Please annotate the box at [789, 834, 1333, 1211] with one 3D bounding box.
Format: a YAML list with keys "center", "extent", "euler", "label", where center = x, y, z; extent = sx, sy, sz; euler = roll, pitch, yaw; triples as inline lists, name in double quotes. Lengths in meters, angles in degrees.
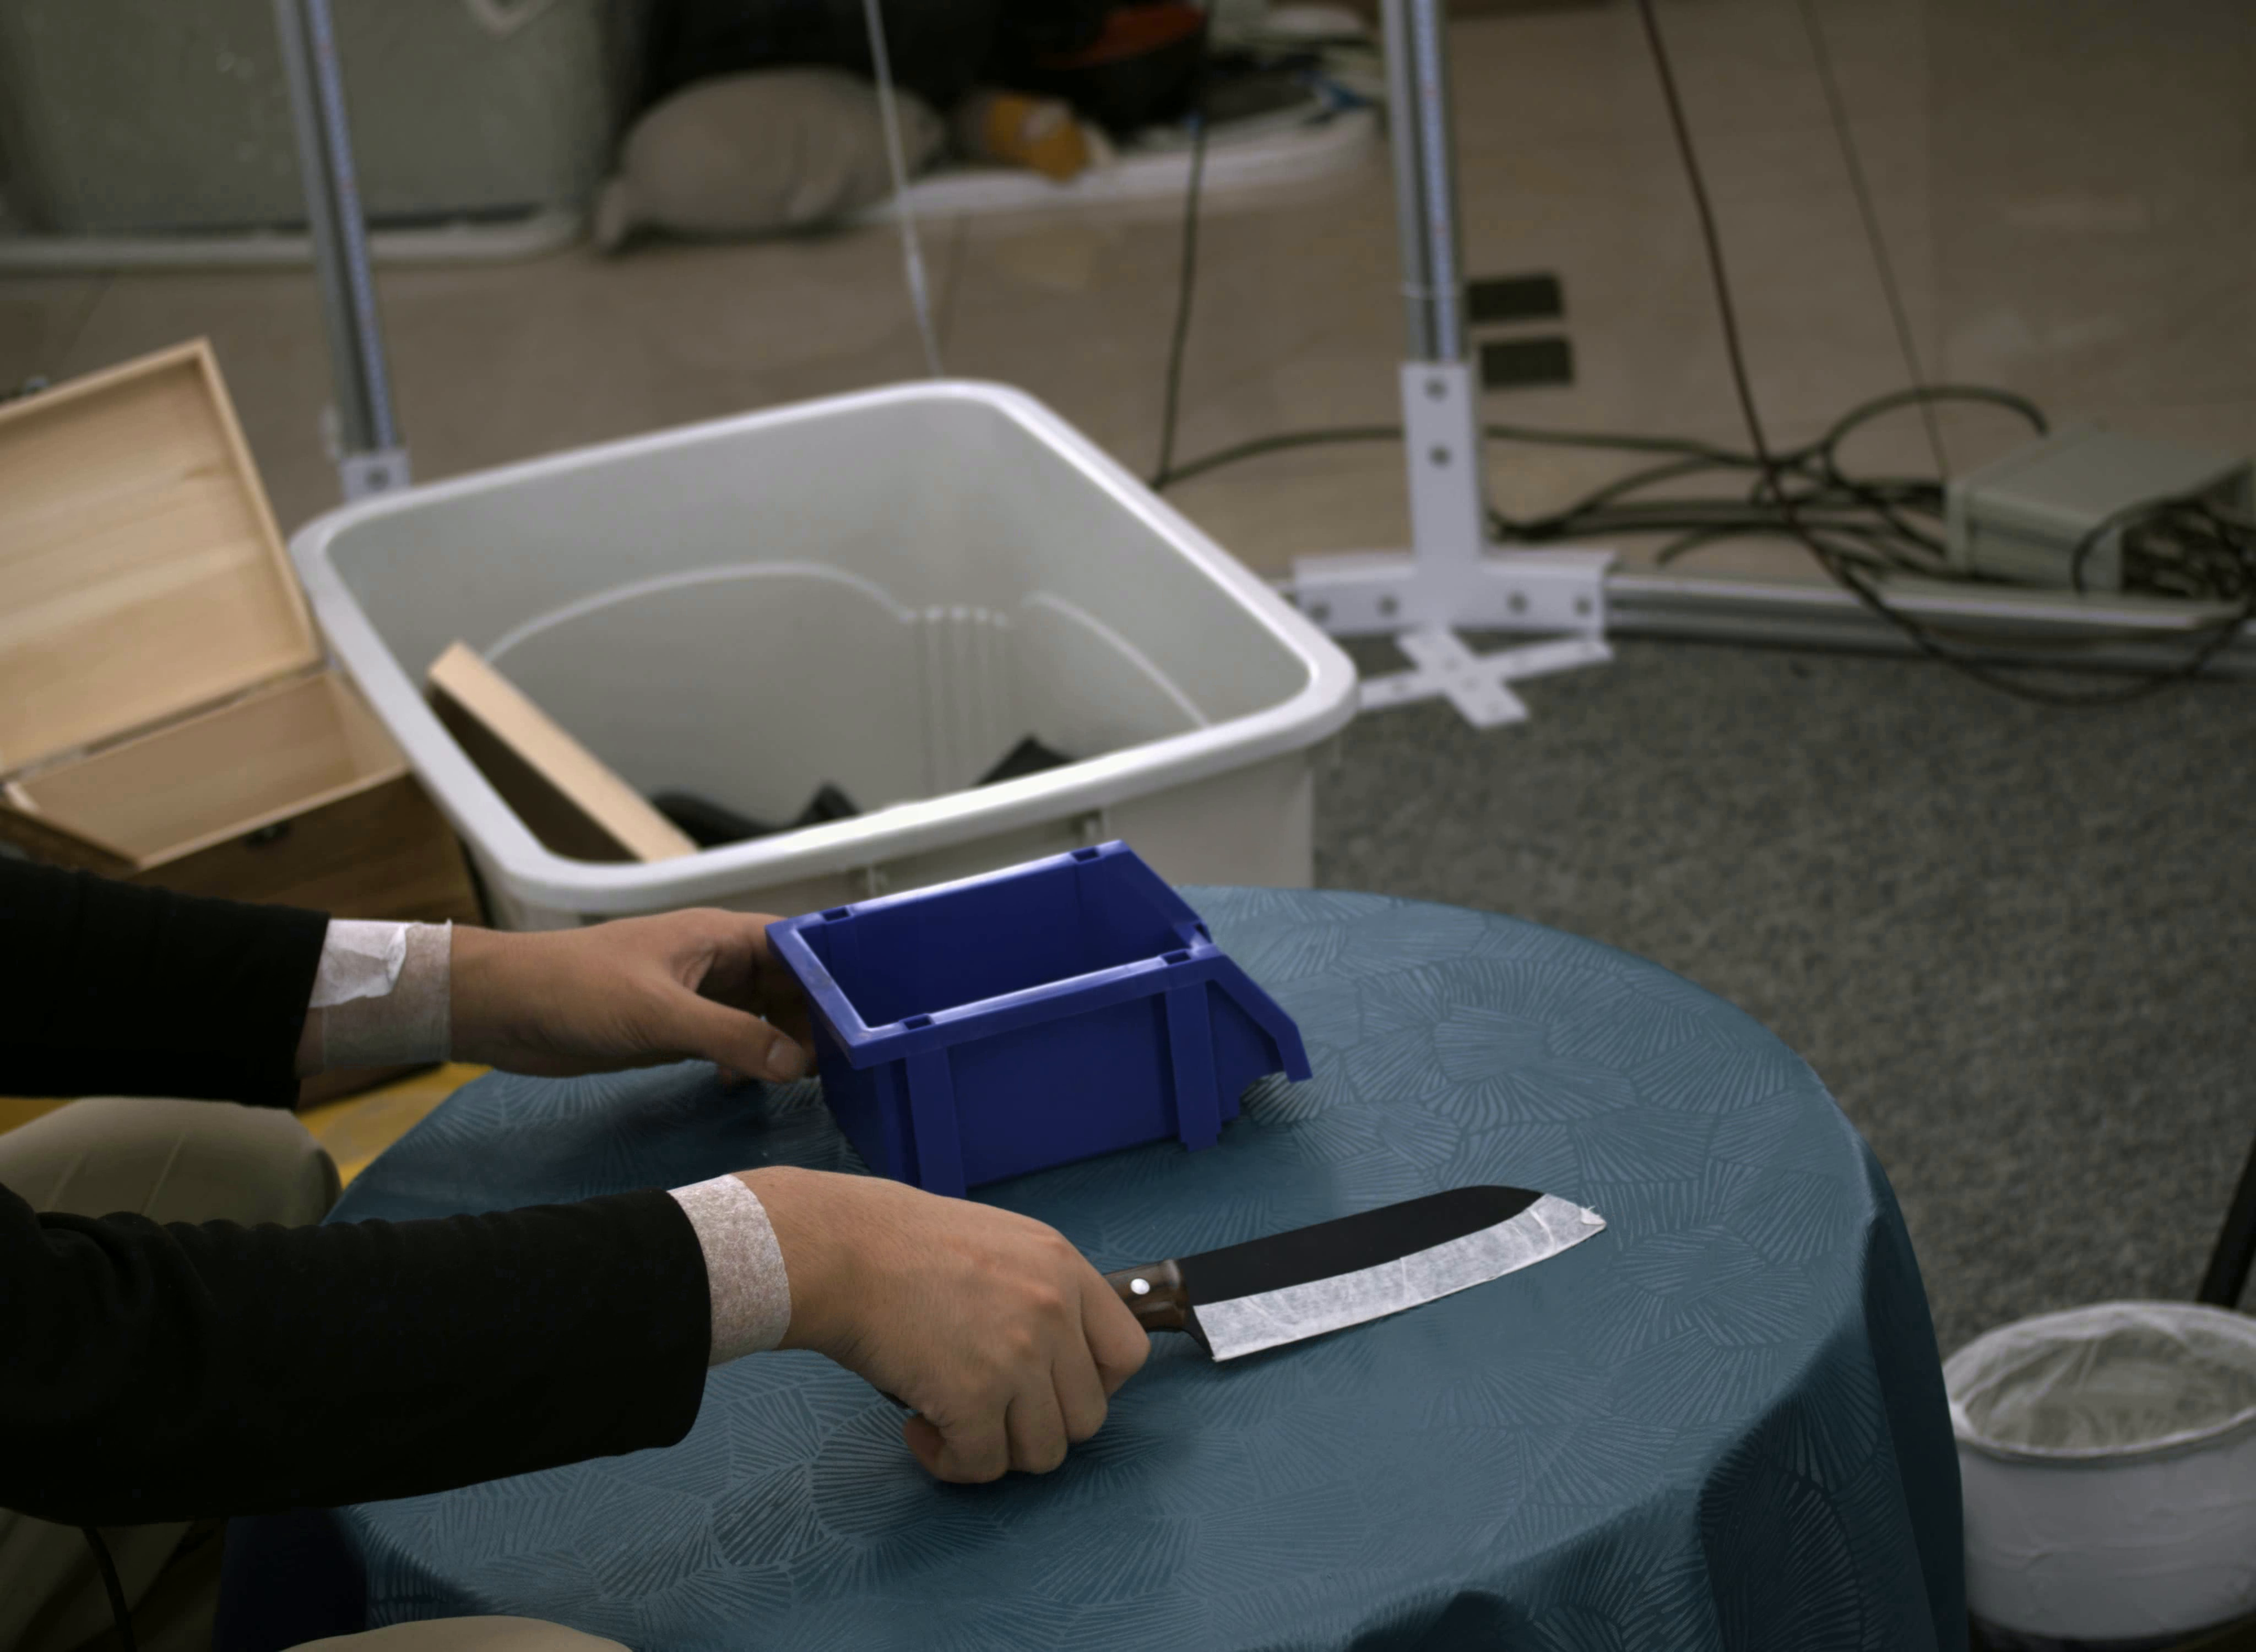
- center: [-0.026, 0.072, 2.200]
  extent: [0.179, 0.083, 0.123]
  euler: [-15, 26, -12]
  label: "box"

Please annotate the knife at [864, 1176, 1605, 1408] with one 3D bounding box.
- center: [0.042, 0.167, 2.035]
  extent: [0.288, 0.020, 0.049]
  euler: [-11, 59, -21]
  label: "knife"
